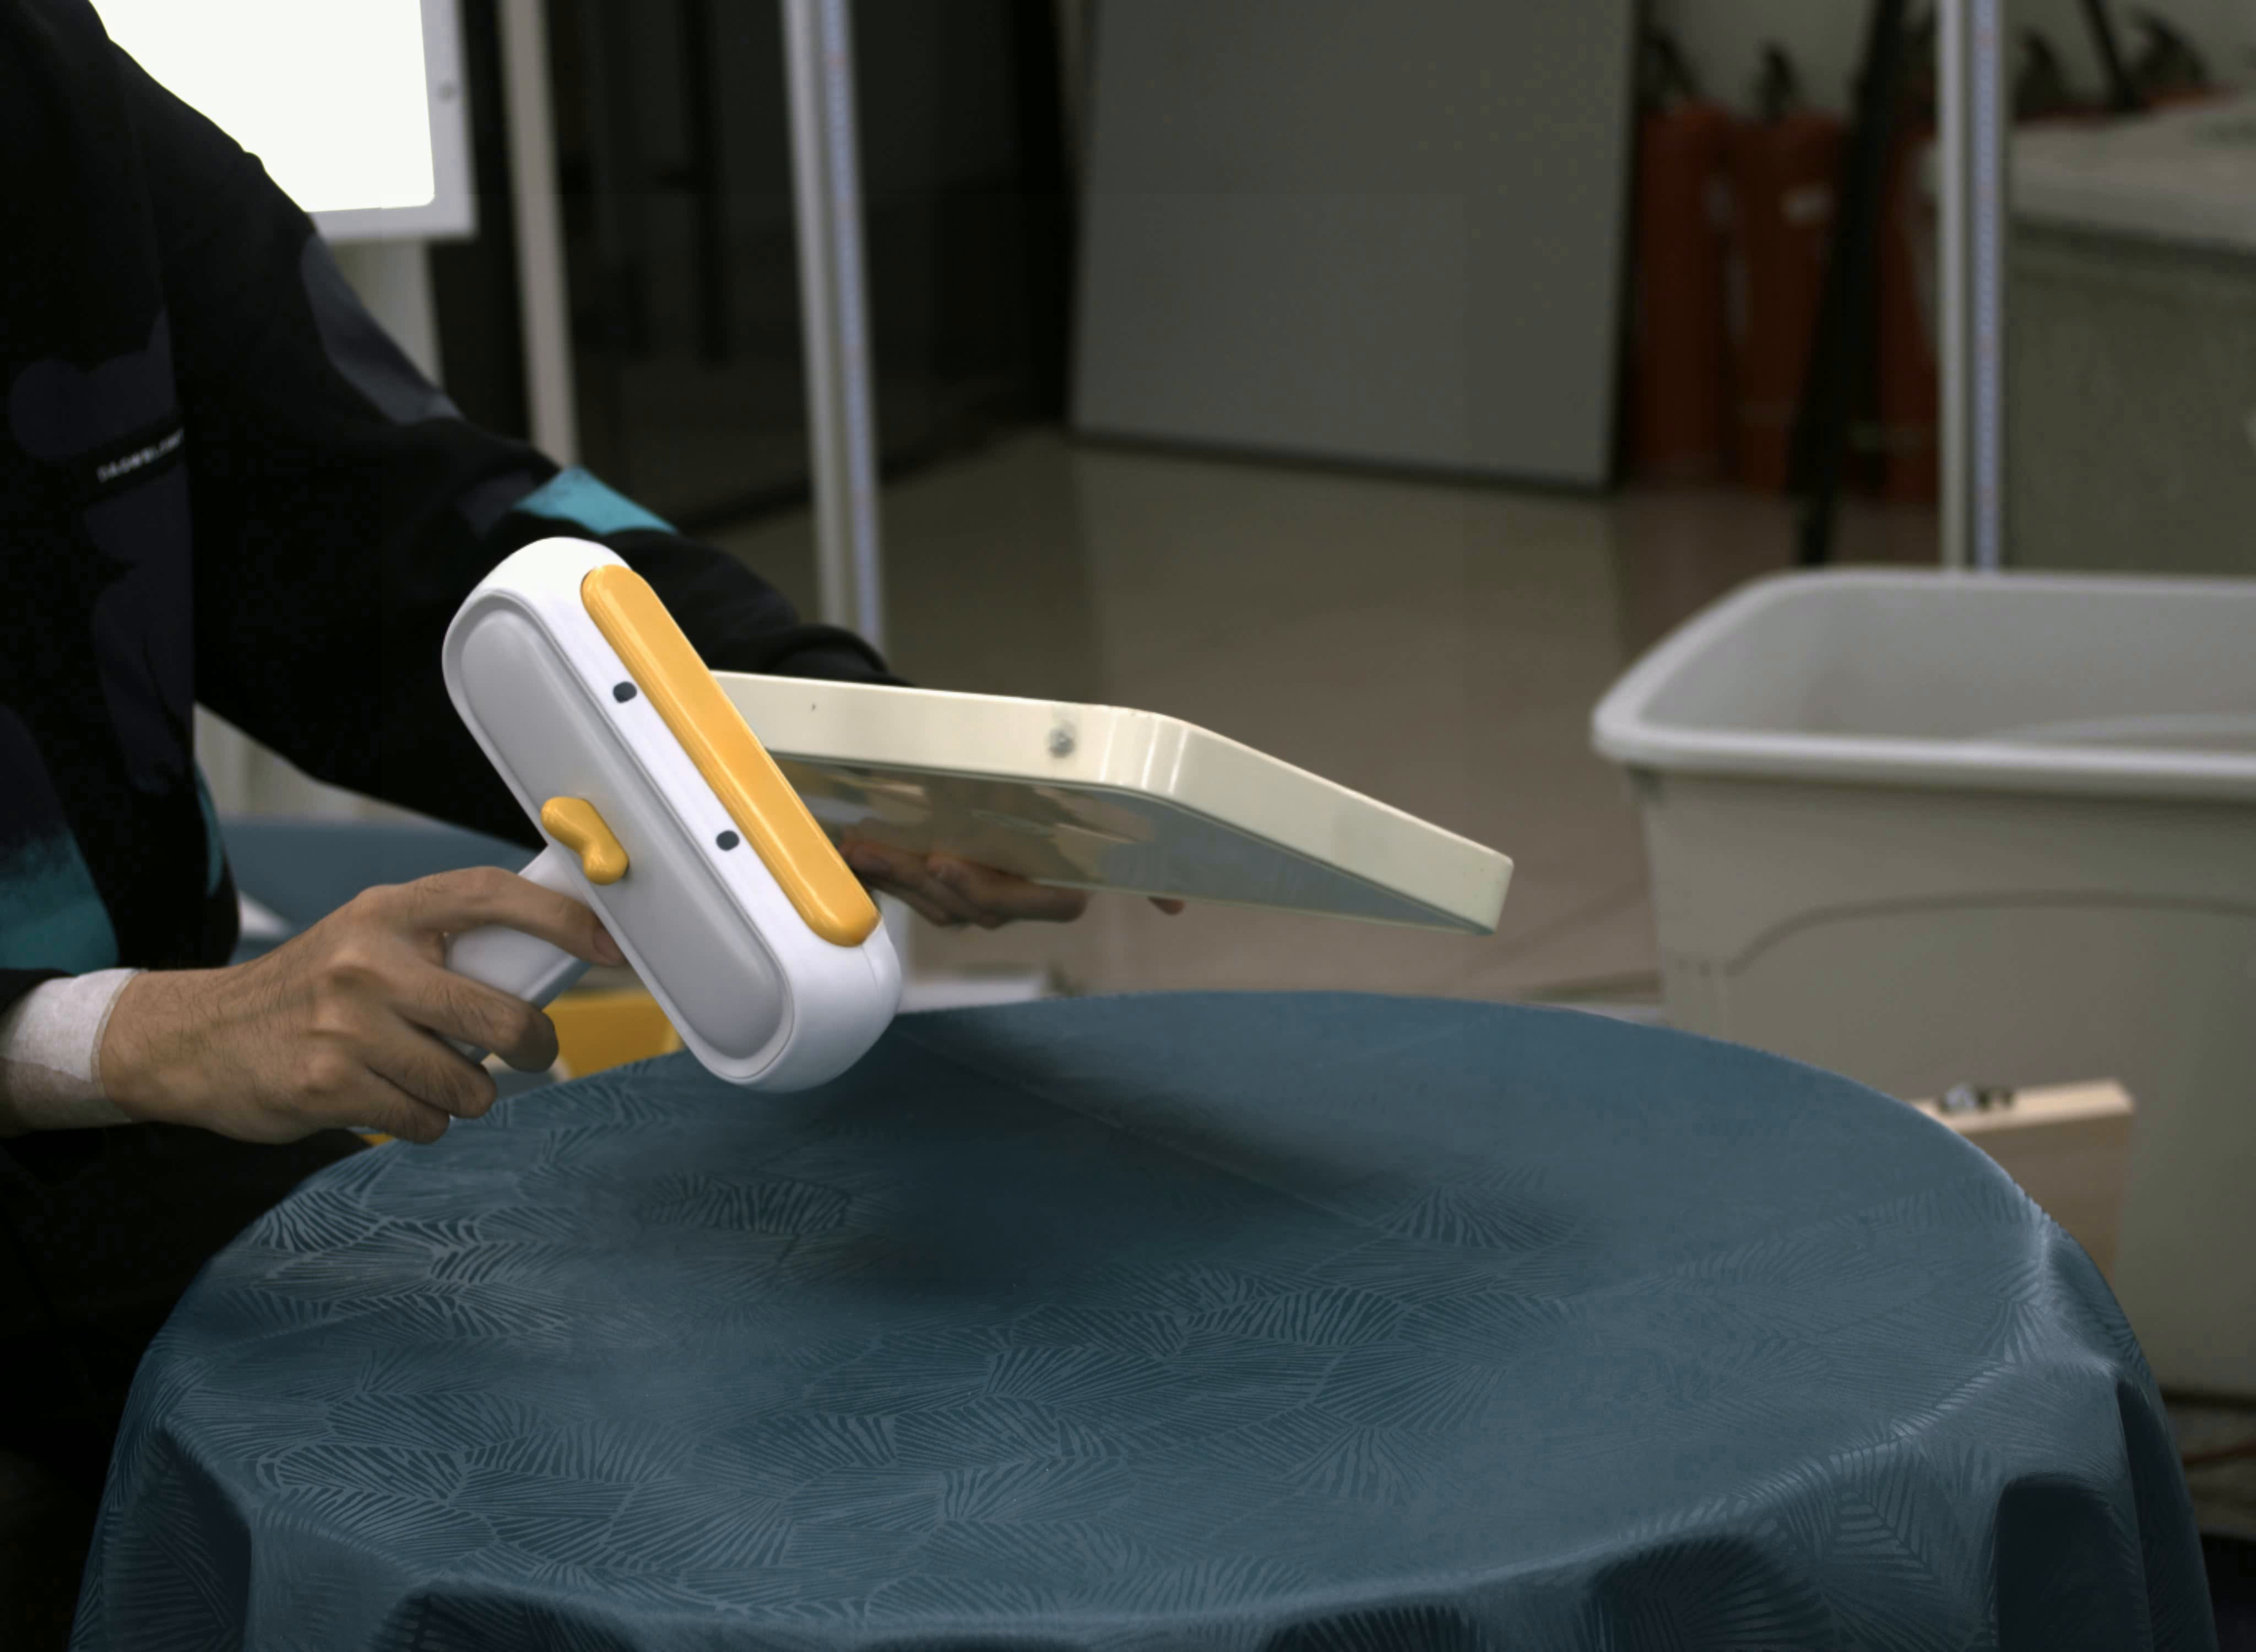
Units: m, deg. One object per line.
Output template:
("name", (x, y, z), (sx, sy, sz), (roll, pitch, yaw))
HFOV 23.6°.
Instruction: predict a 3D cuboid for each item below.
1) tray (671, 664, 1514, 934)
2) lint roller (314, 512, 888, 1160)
("tray", (-0.036, -0.010, 1.796), (0.303, 0.028, 0.188), (5, -13, 46))
("lint roller", (-0.183, 0.030, 1.685), (0.194, 0.194, 0.073), (49, 31, 13))
